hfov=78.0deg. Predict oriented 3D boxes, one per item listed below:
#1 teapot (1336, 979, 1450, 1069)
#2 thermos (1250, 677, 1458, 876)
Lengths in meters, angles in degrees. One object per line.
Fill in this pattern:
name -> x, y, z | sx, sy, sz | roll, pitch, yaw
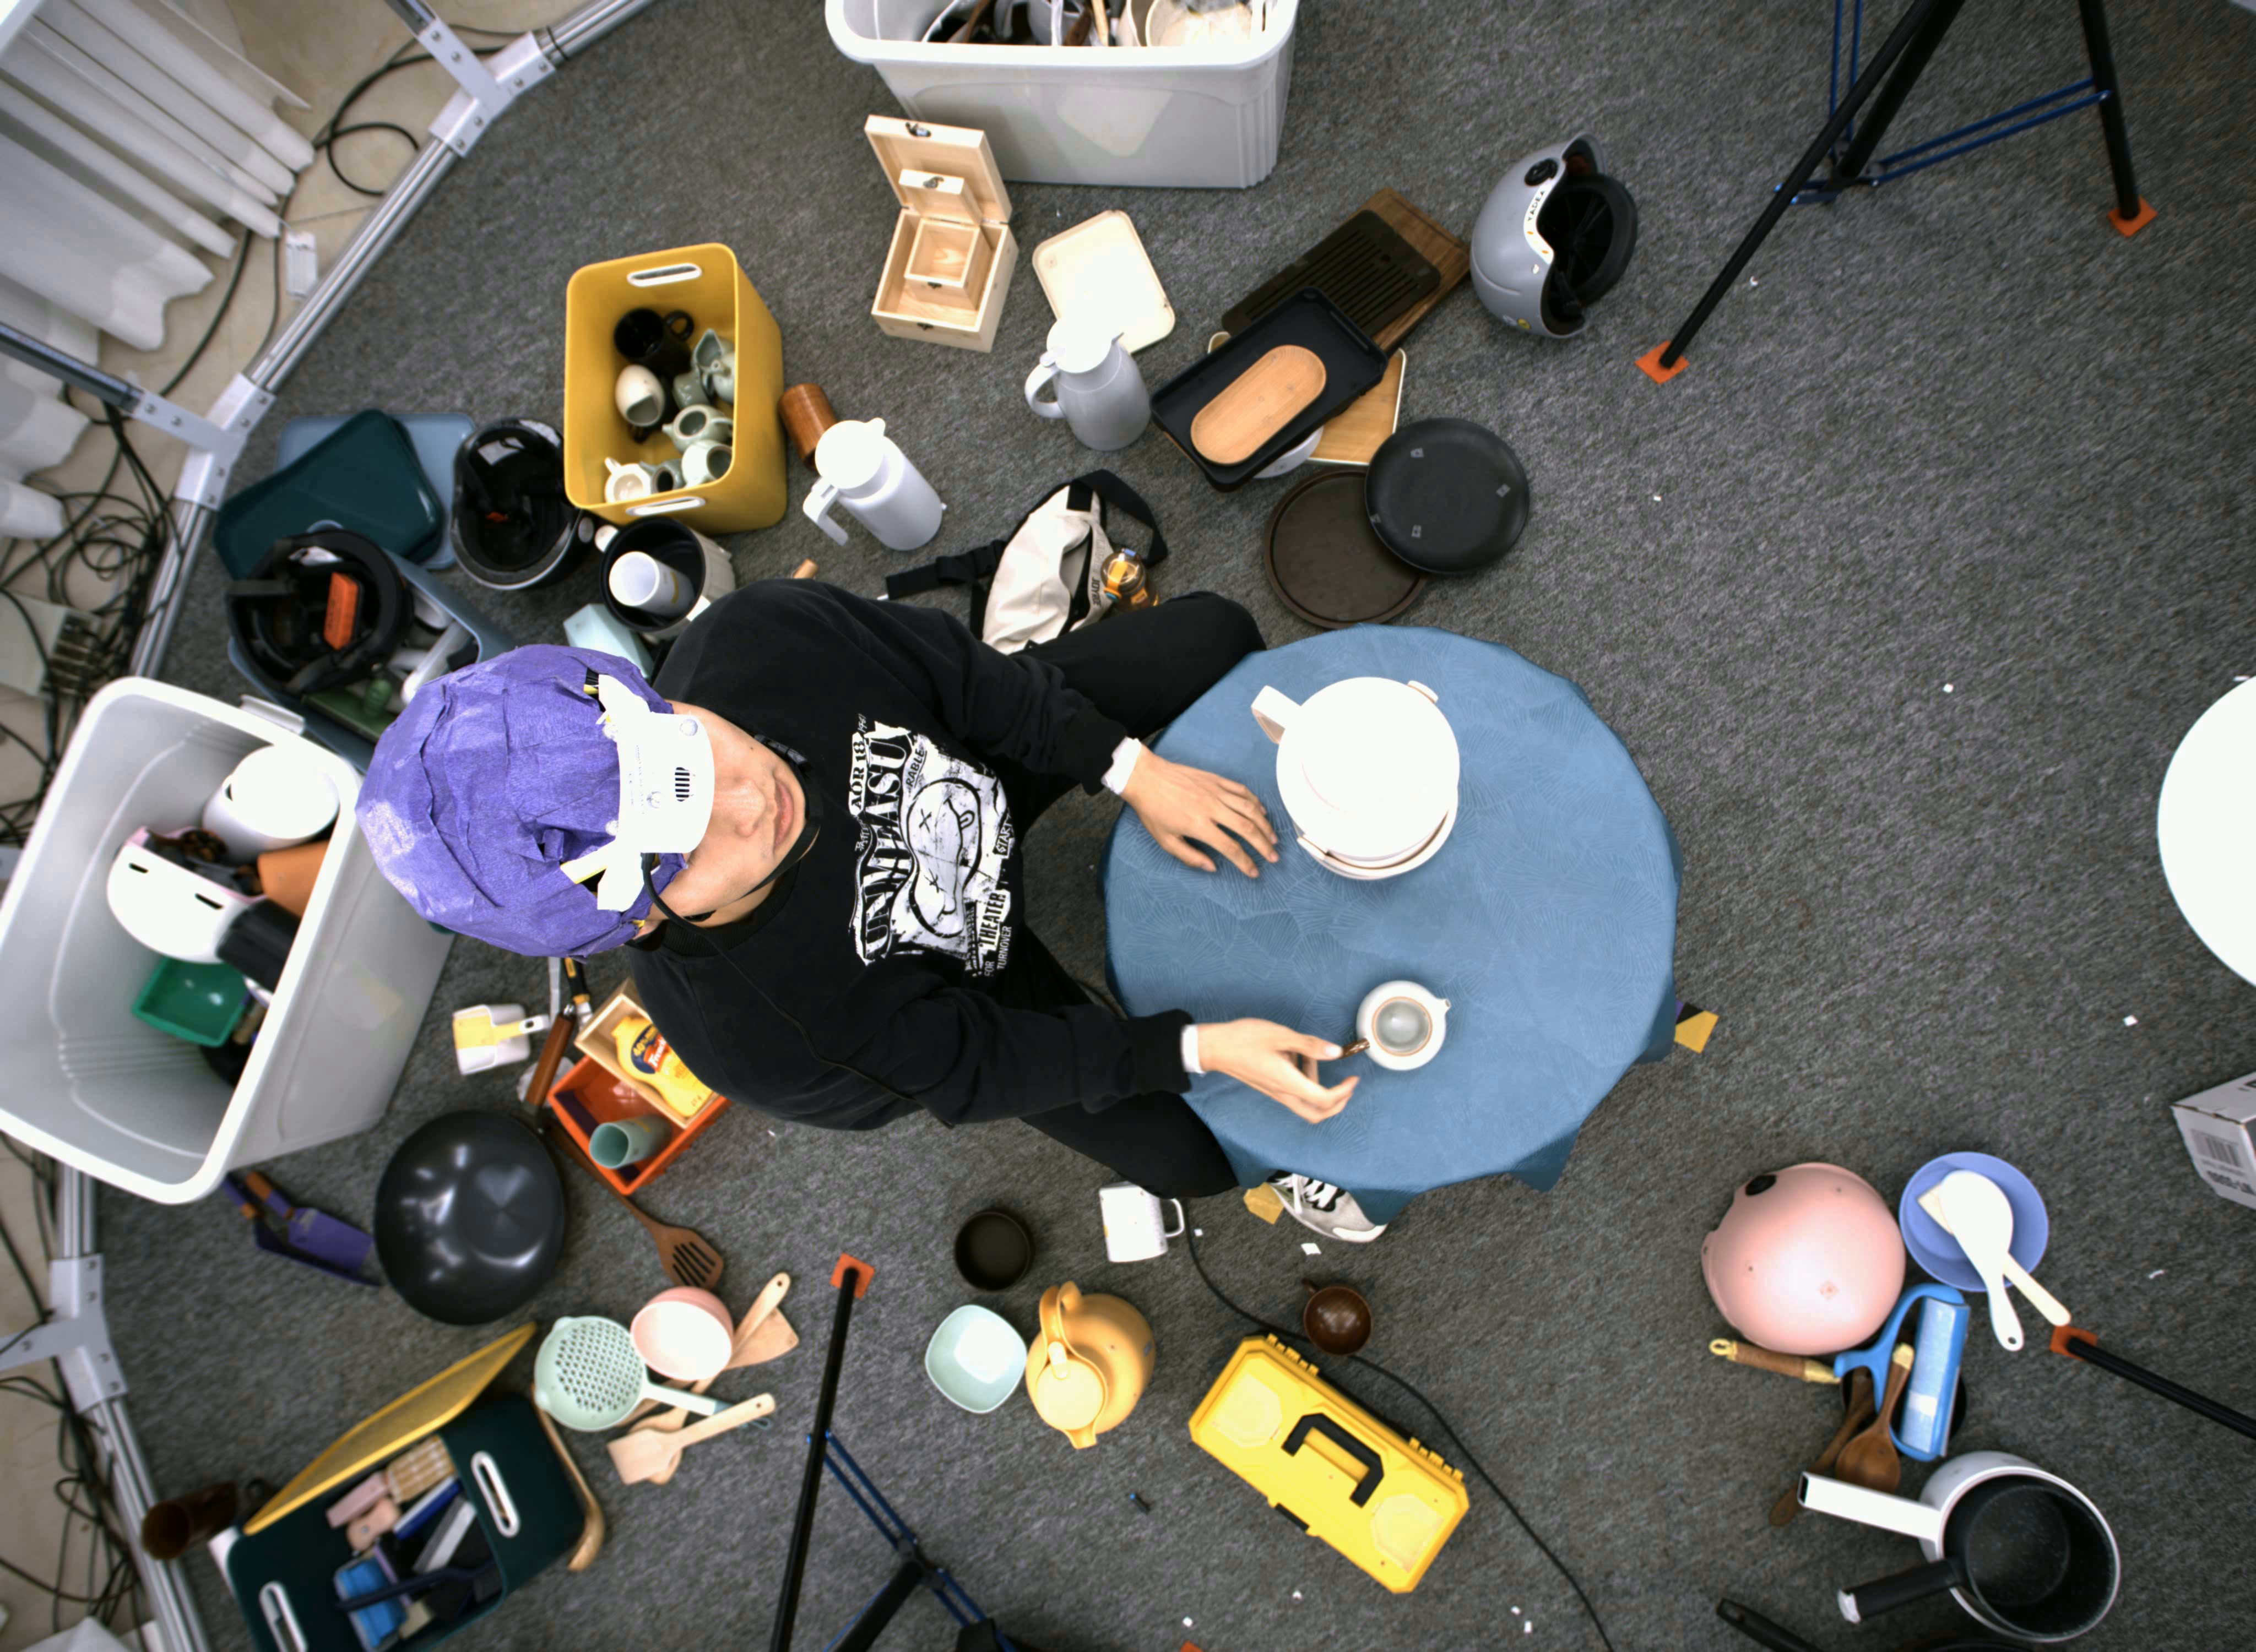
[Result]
teapot -> 0.272, 0.207, 1.425 | 0.129, 0.059, 0.091 | -29, 85, 6
thermos -> 0.210, -0.052, 1.278 | 0.206, 0.406, 0.176 | 35, 93, 11
